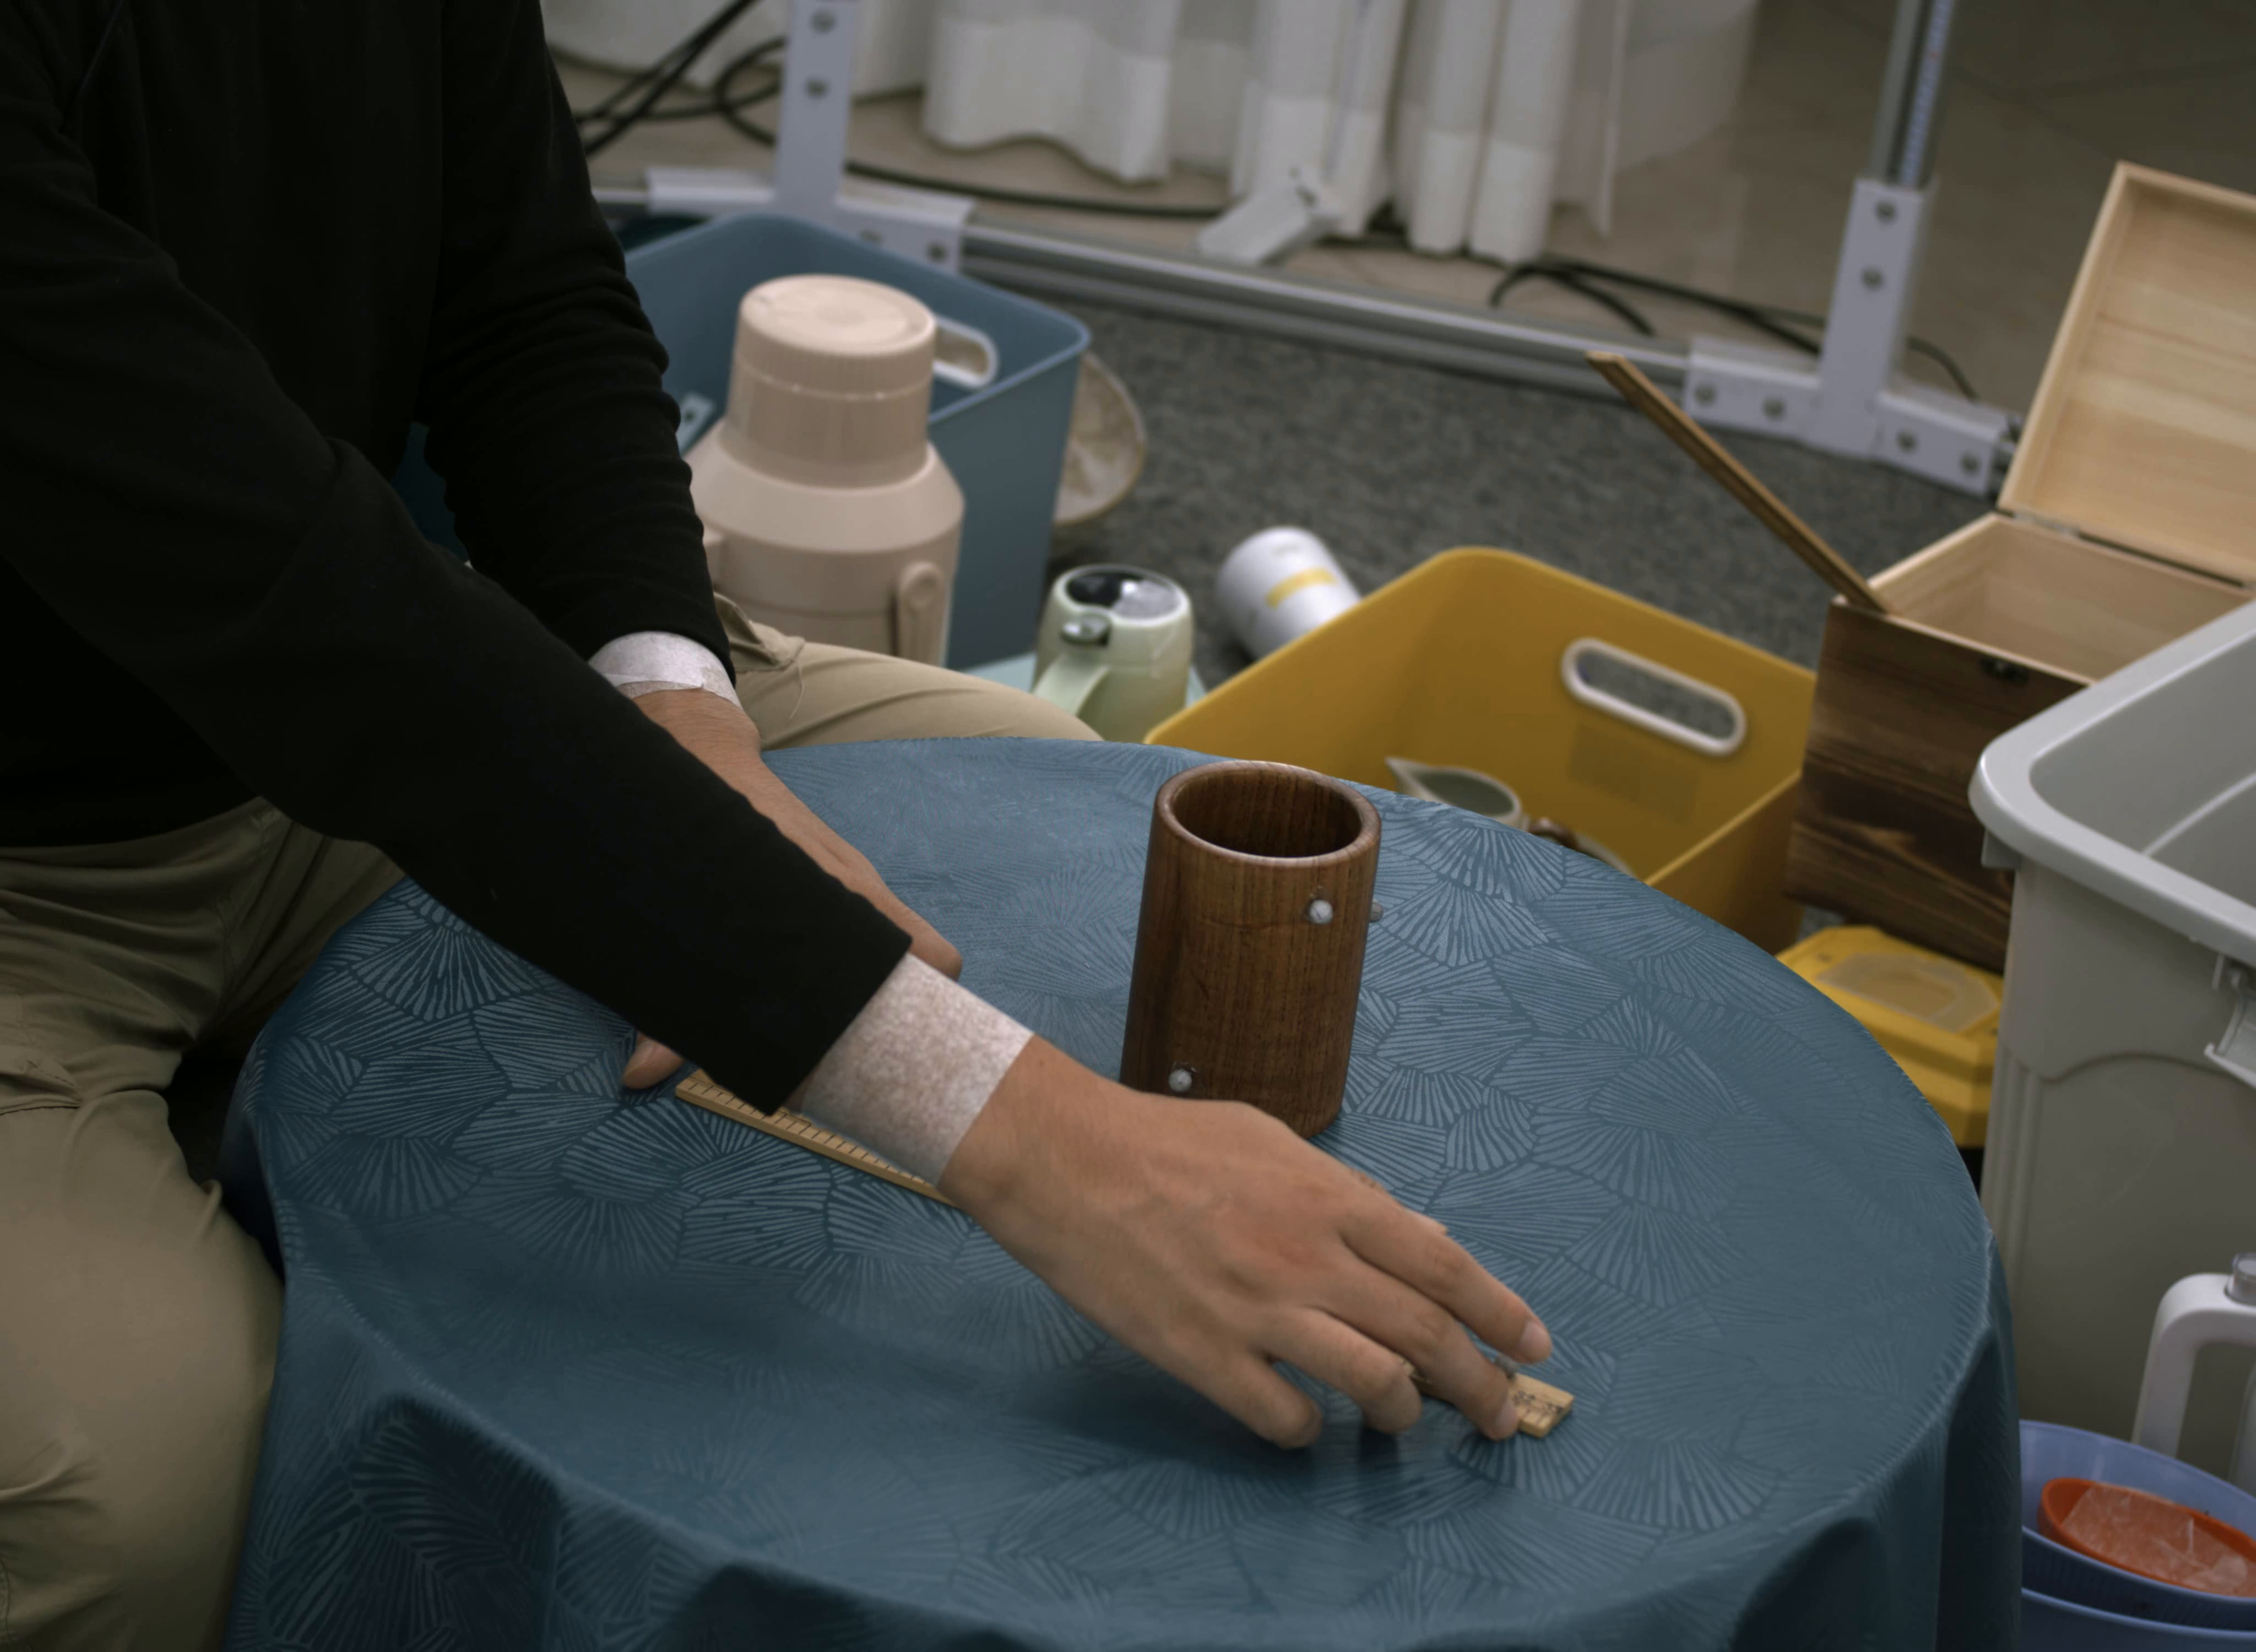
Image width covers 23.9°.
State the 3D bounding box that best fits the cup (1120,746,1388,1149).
[{"bbox_3d":[0.043,0.042,1.843,0.087,0.118,0.088,6,26,-3],"label":"cup"}]

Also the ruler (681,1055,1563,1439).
[{"bbox_3d":[-0.007,0.135,1.767,0.333,0.022,0.027,20,23,25],"label":"ruler"}]
